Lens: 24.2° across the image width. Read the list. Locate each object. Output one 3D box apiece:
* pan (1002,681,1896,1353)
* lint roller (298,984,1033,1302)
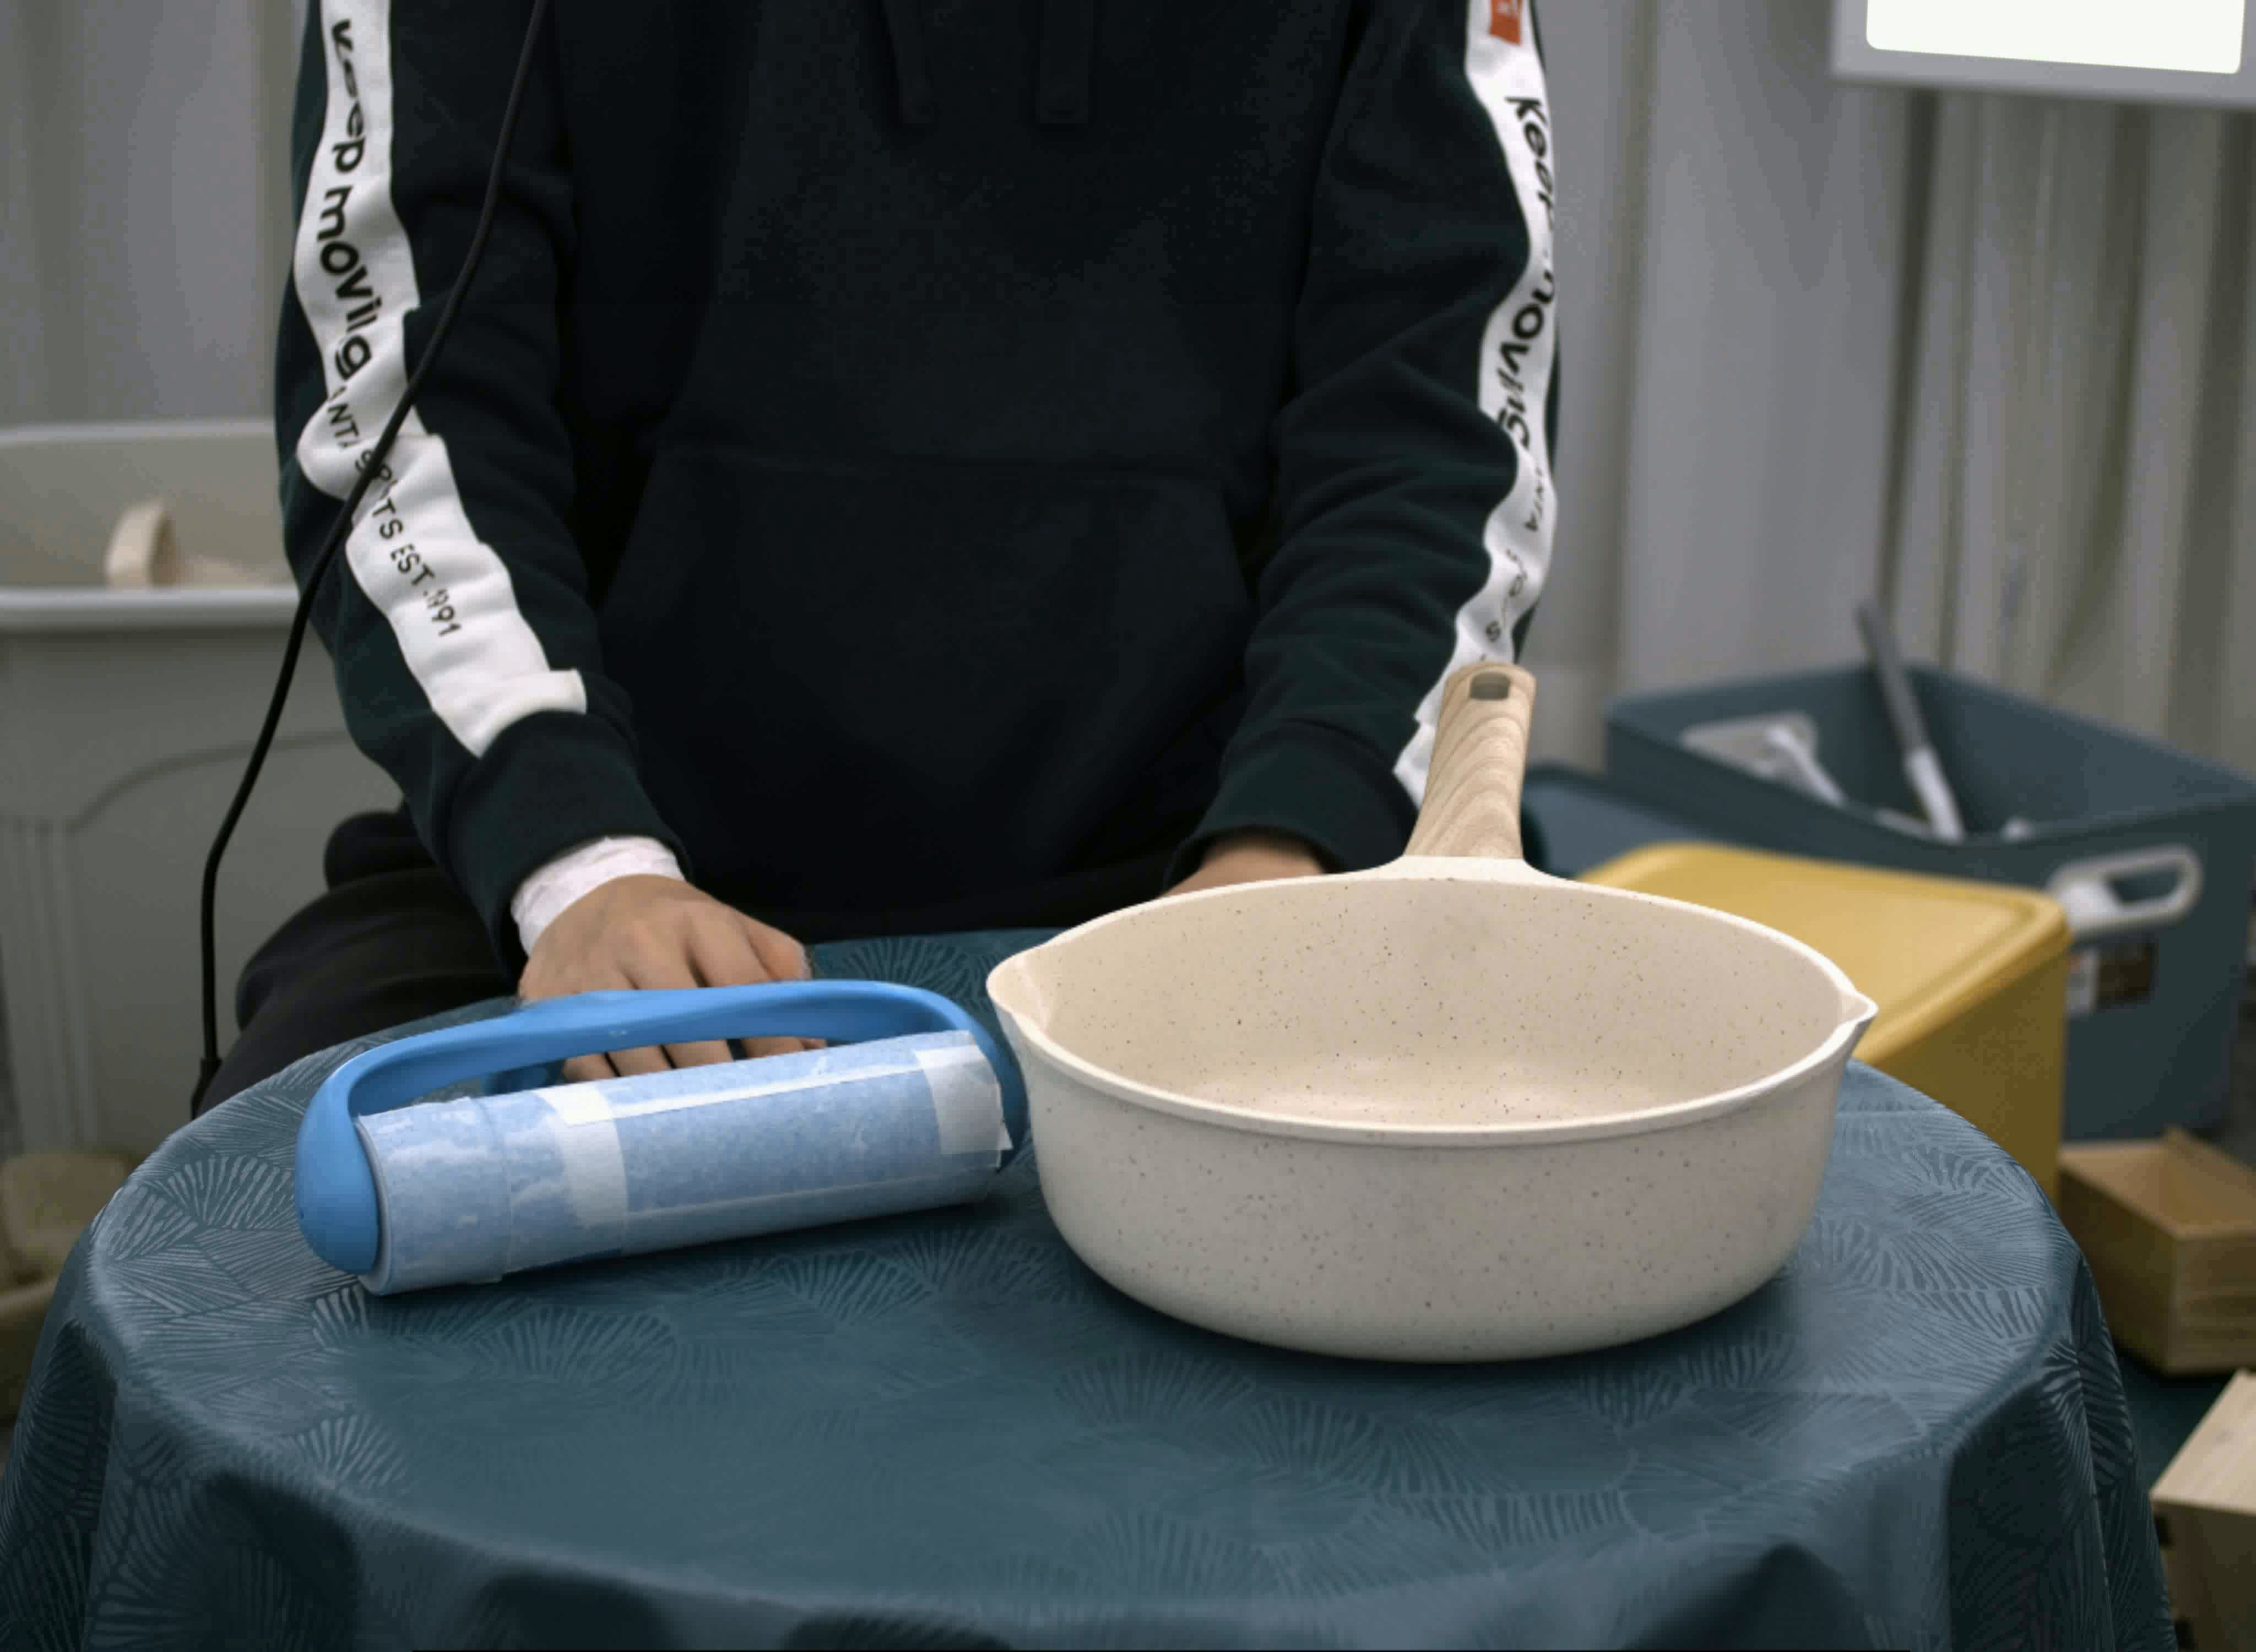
[{"bbox_3d":[0.104,0.054,1.643,0.262,0.103,0.433,1,15,6],"label":"pan"},{"bbox_3d":[-0.162,0.084,1.611,0.230,0.068,0.178,-10,19,-27],"label":"lint roller"}]
